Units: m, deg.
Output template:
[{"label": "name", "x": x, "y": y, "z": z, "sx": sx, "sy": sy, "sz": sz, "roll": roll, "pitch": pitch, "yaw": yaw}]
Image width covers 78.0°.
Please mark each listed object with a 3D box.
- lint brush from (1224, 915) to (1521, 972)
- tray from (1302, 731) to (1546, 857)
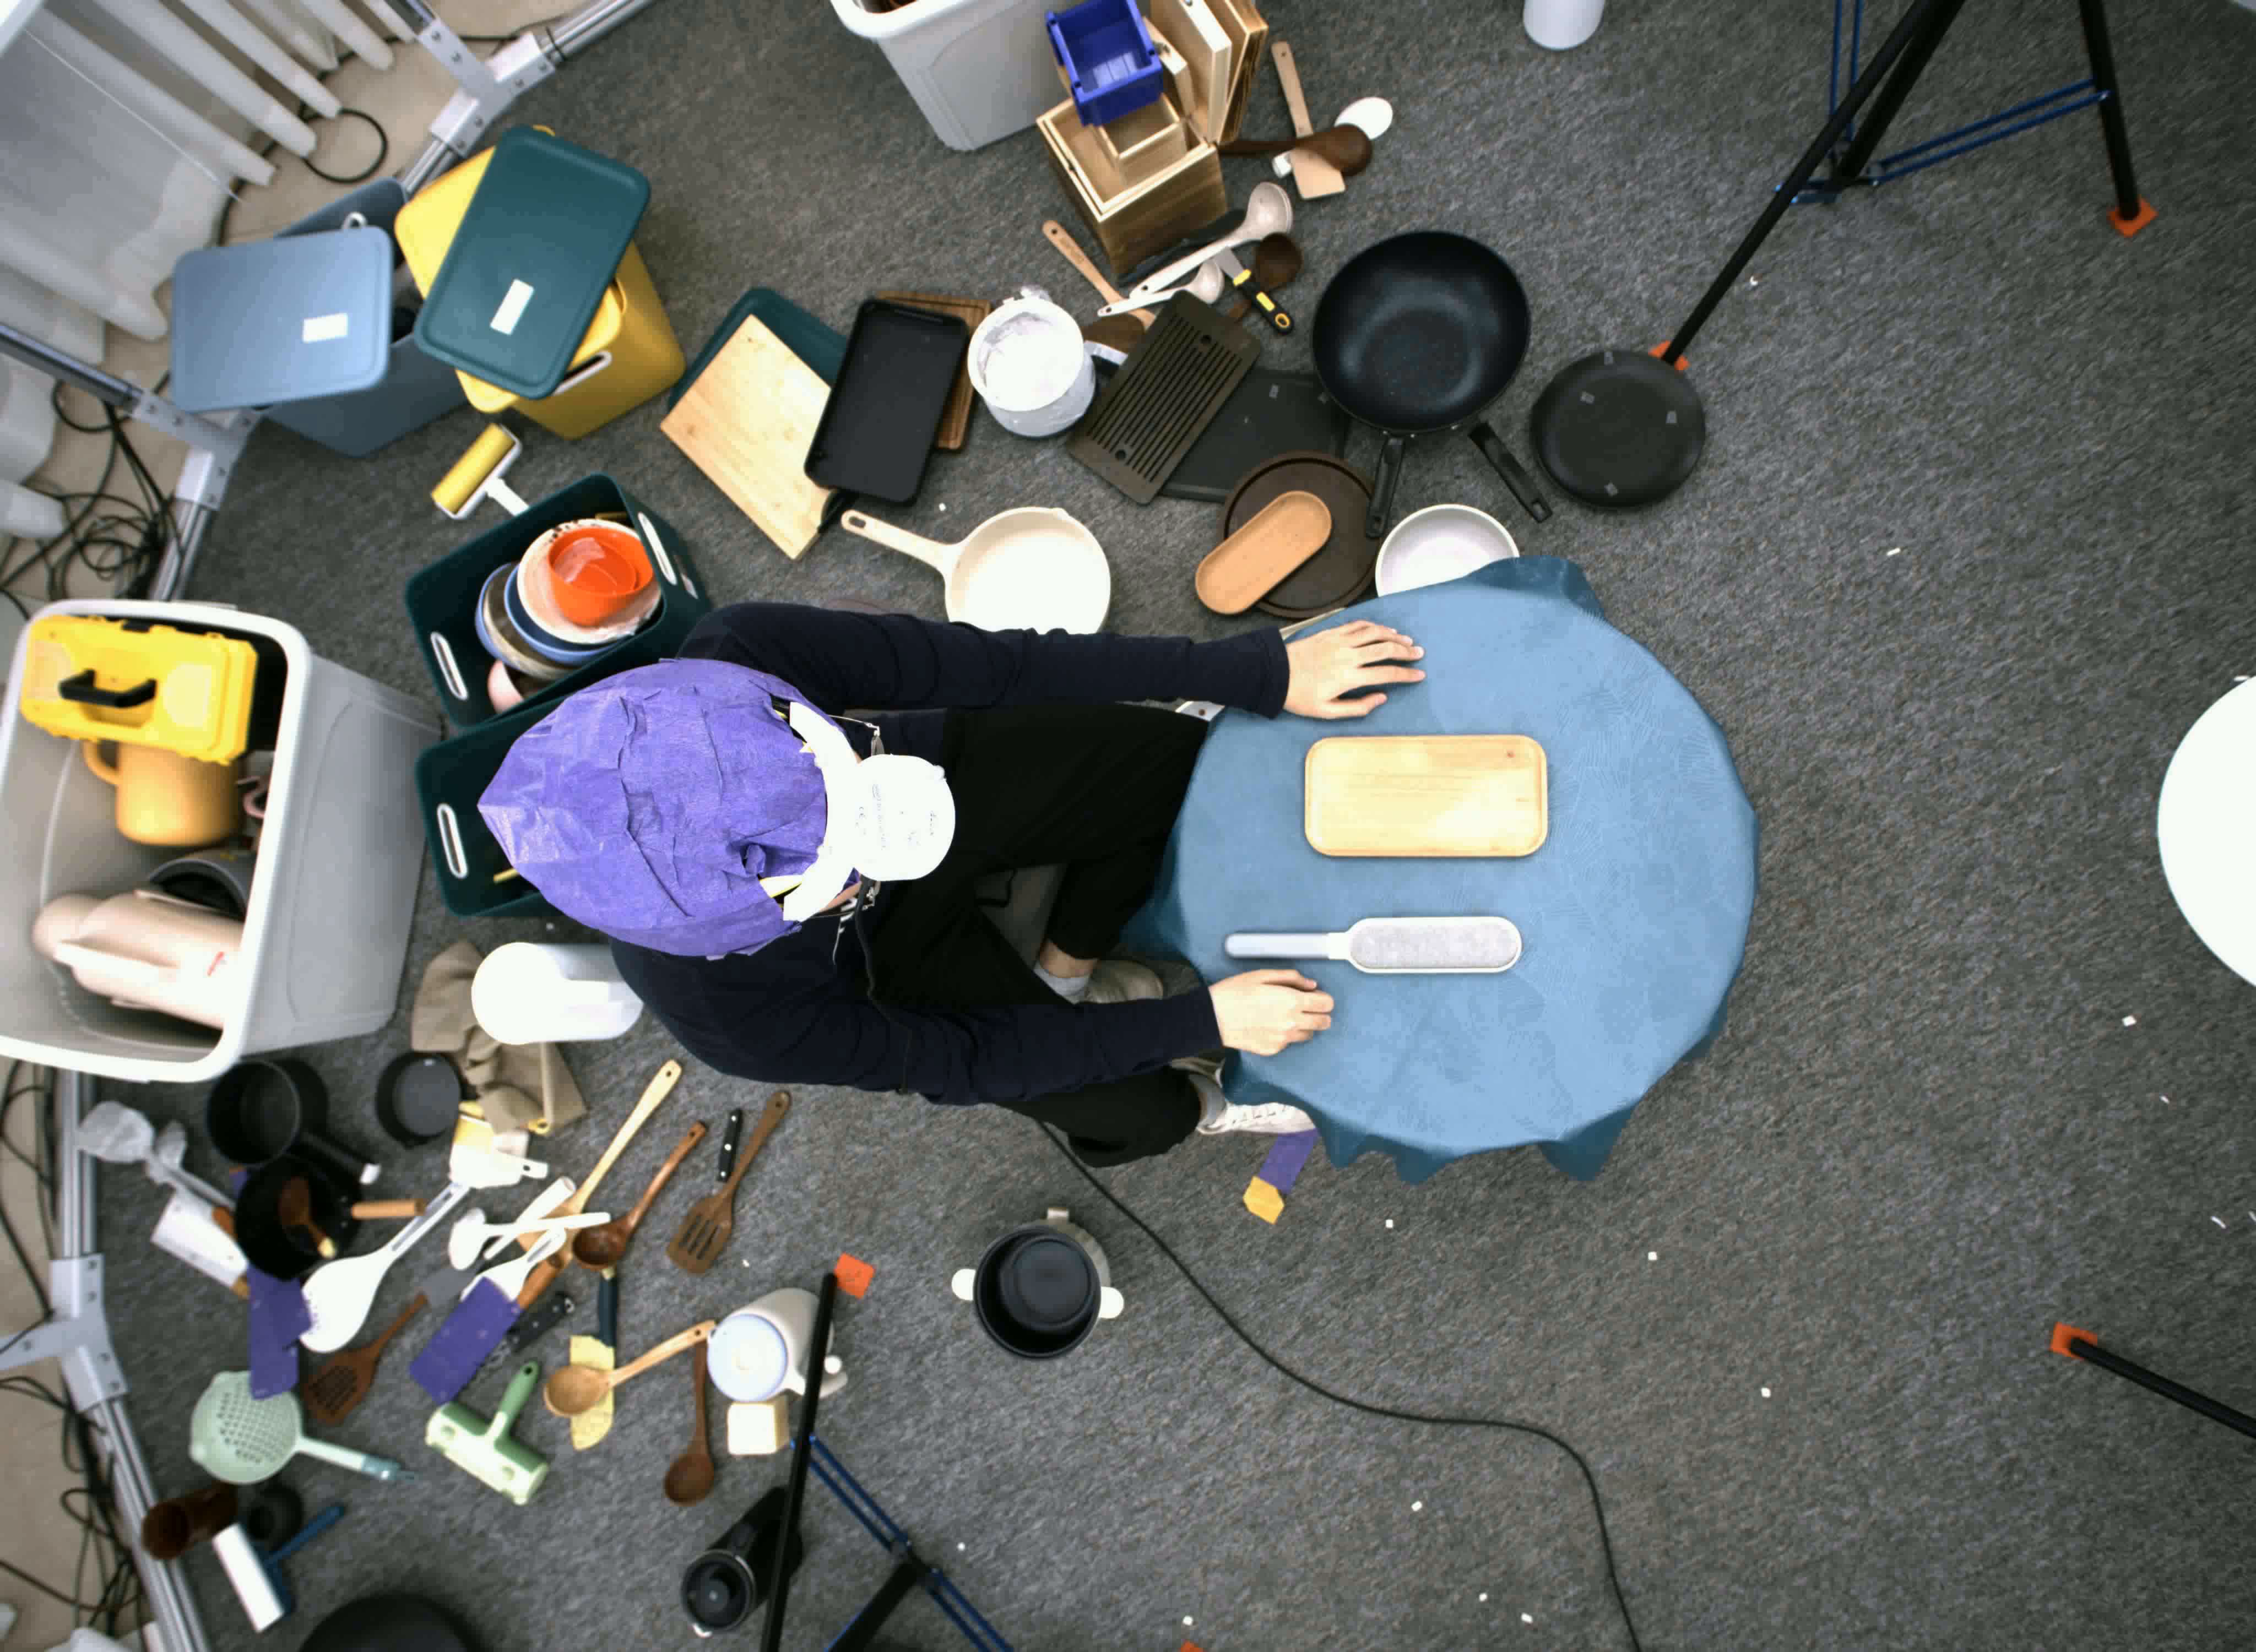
[{"label": "lint brush", "x": 0.254, "y": 0.122, "z": 1.446, "sx": 0.310, "sy": 0.021, "sz": 0.060, "roll": -1, "pitch": 91, "yaw": 11}, {"label": "tray", "x": 0.310, "y": -0.035, "z": 1.450, "sx": 0.251, "sy": 0.023, "sz": 0.130, "roll": 2, "pitch": 85, "yaw": 11}]
